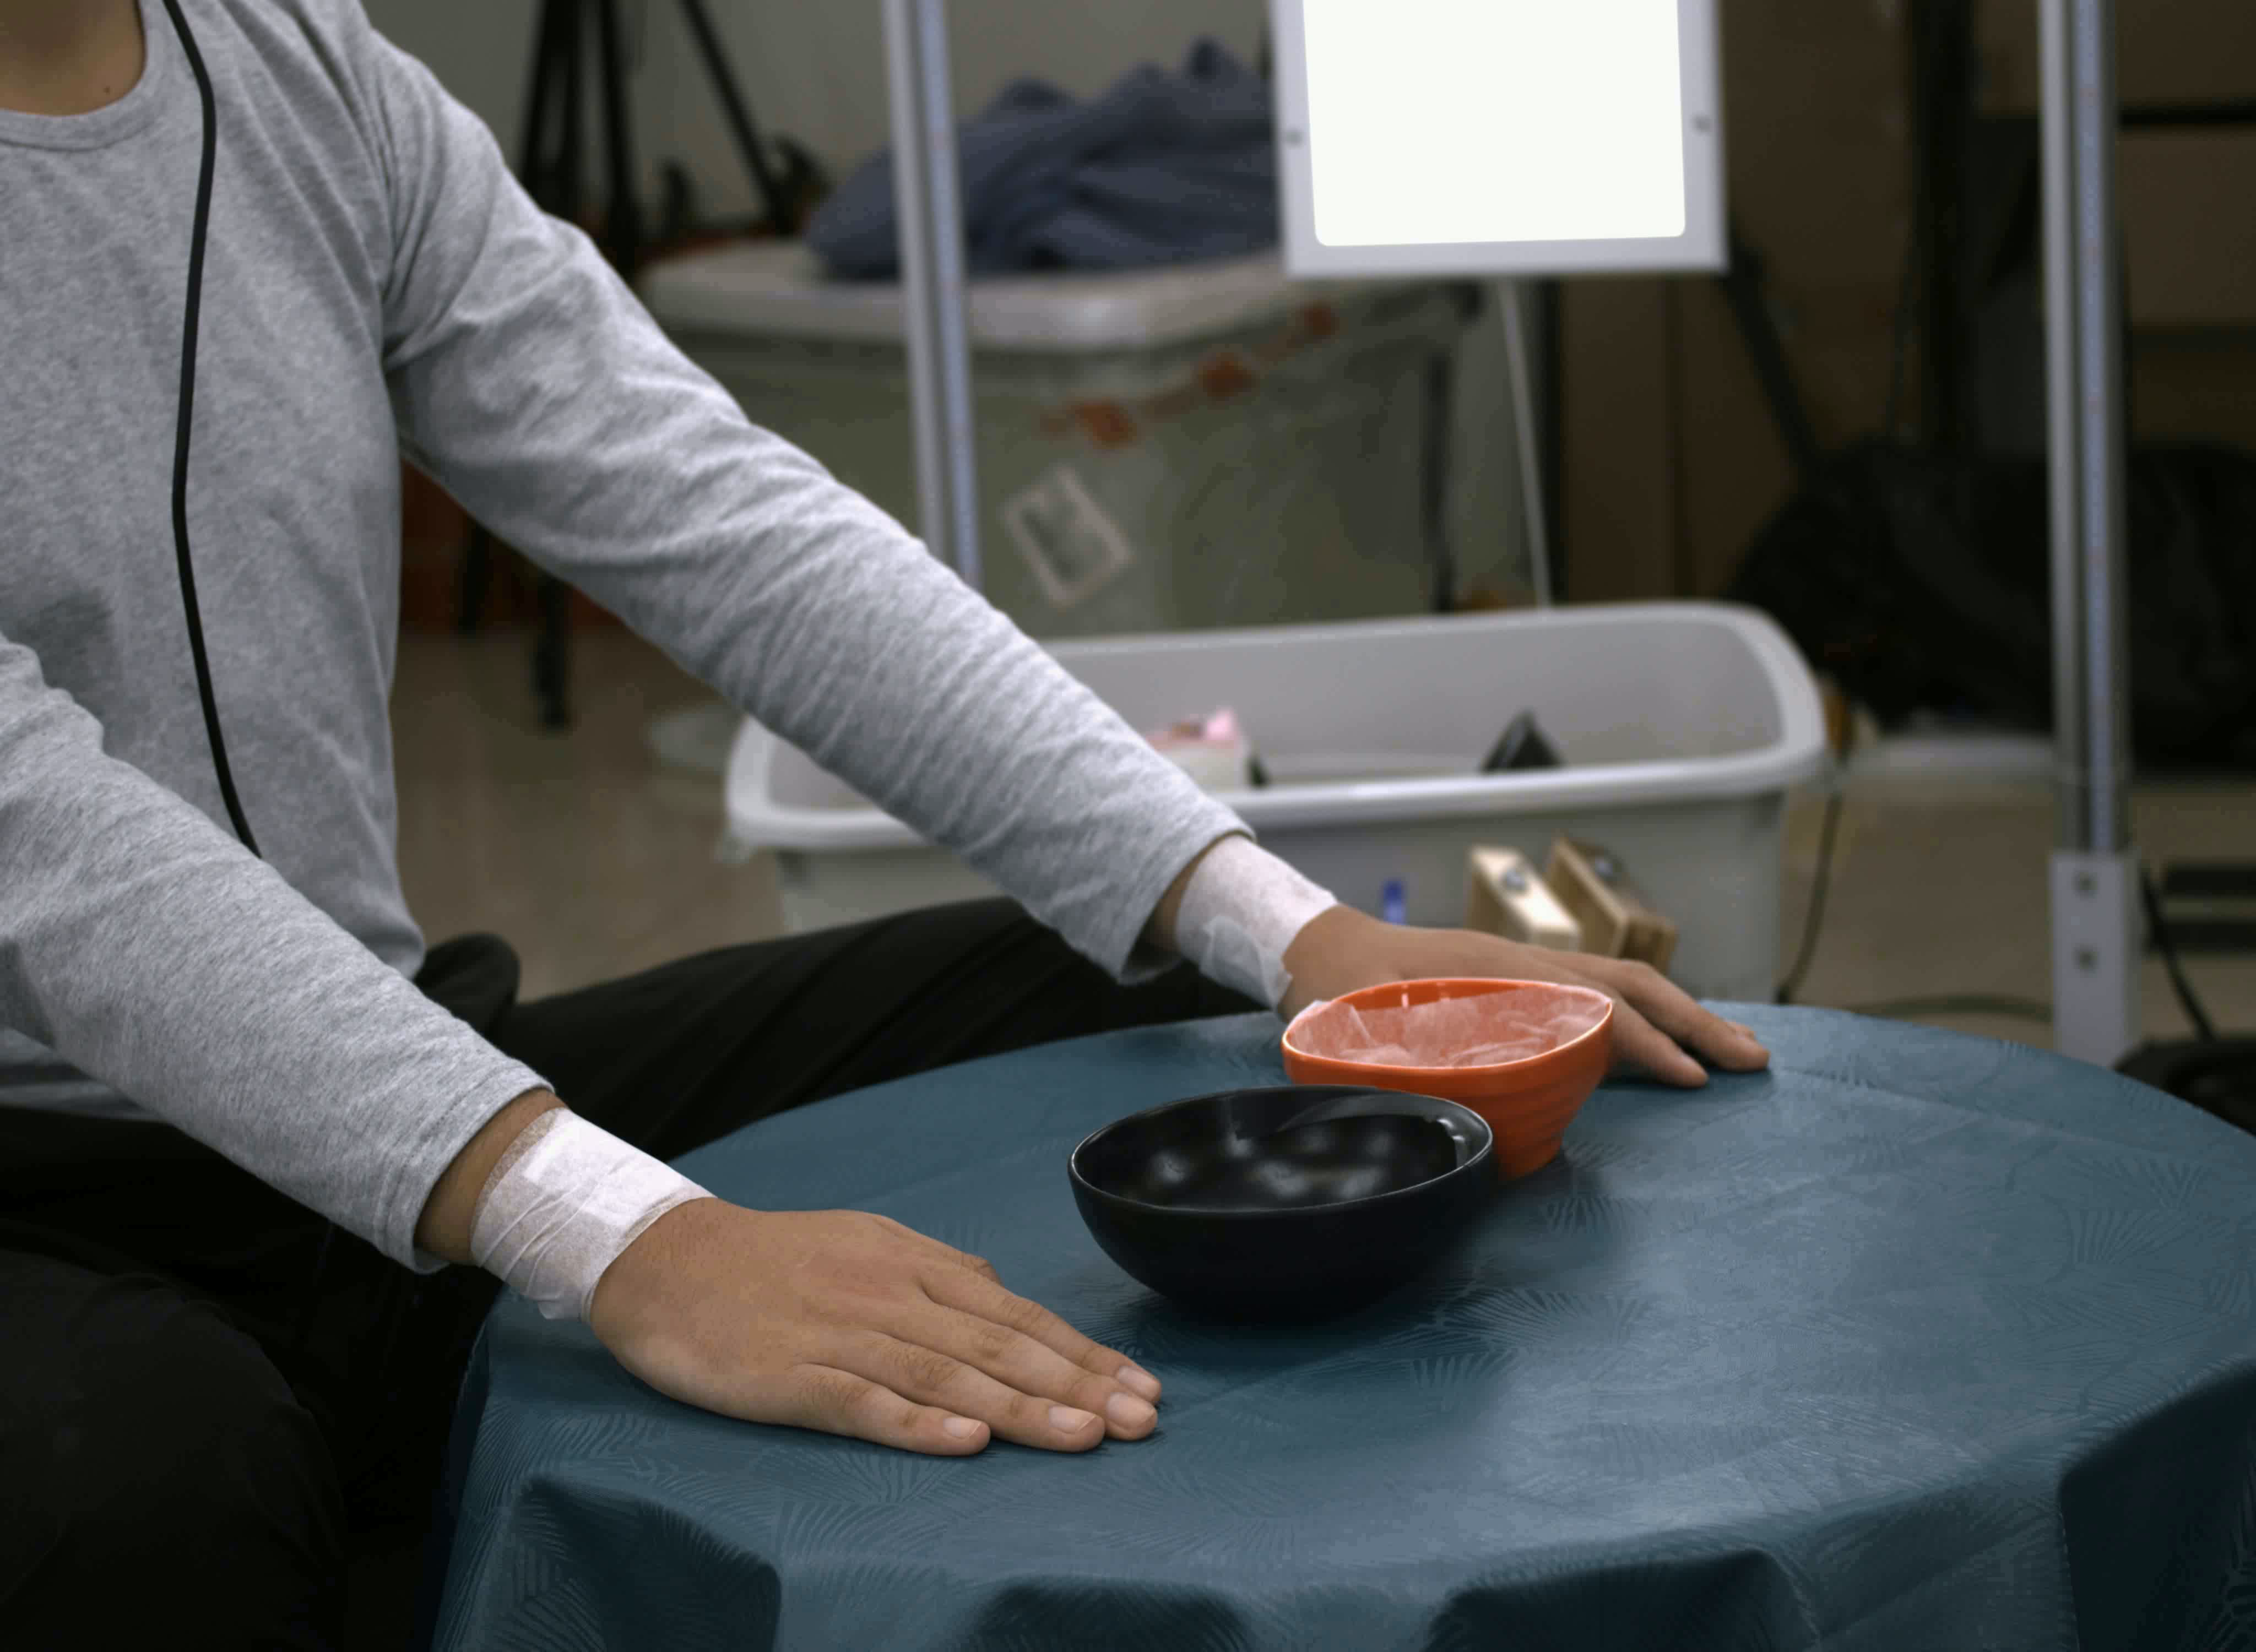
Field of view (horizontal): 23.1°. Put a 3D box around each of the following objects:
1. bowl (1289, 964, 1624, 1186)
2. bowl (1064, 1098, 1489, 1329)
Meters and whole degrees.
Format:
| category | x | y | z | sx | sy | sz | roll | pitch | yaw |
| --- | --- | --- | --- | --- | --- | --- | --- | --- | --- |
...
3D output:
| category | x | y | z | sx | sy | sz | roll | pitch | yaw |
| --- | --- | --- | --- | --- | --- | --- | --- | --- | --- |
| bowl | 0.115 | 0.088 | 1.901 | 0.118 | 0.051 | 0.119 | -3 | 16 | 0 |
| bowl | 0.051 | 0.129 | 1.782 | 0.139 | 0.050 | 0.140 | -7 | 10 | 0 |
